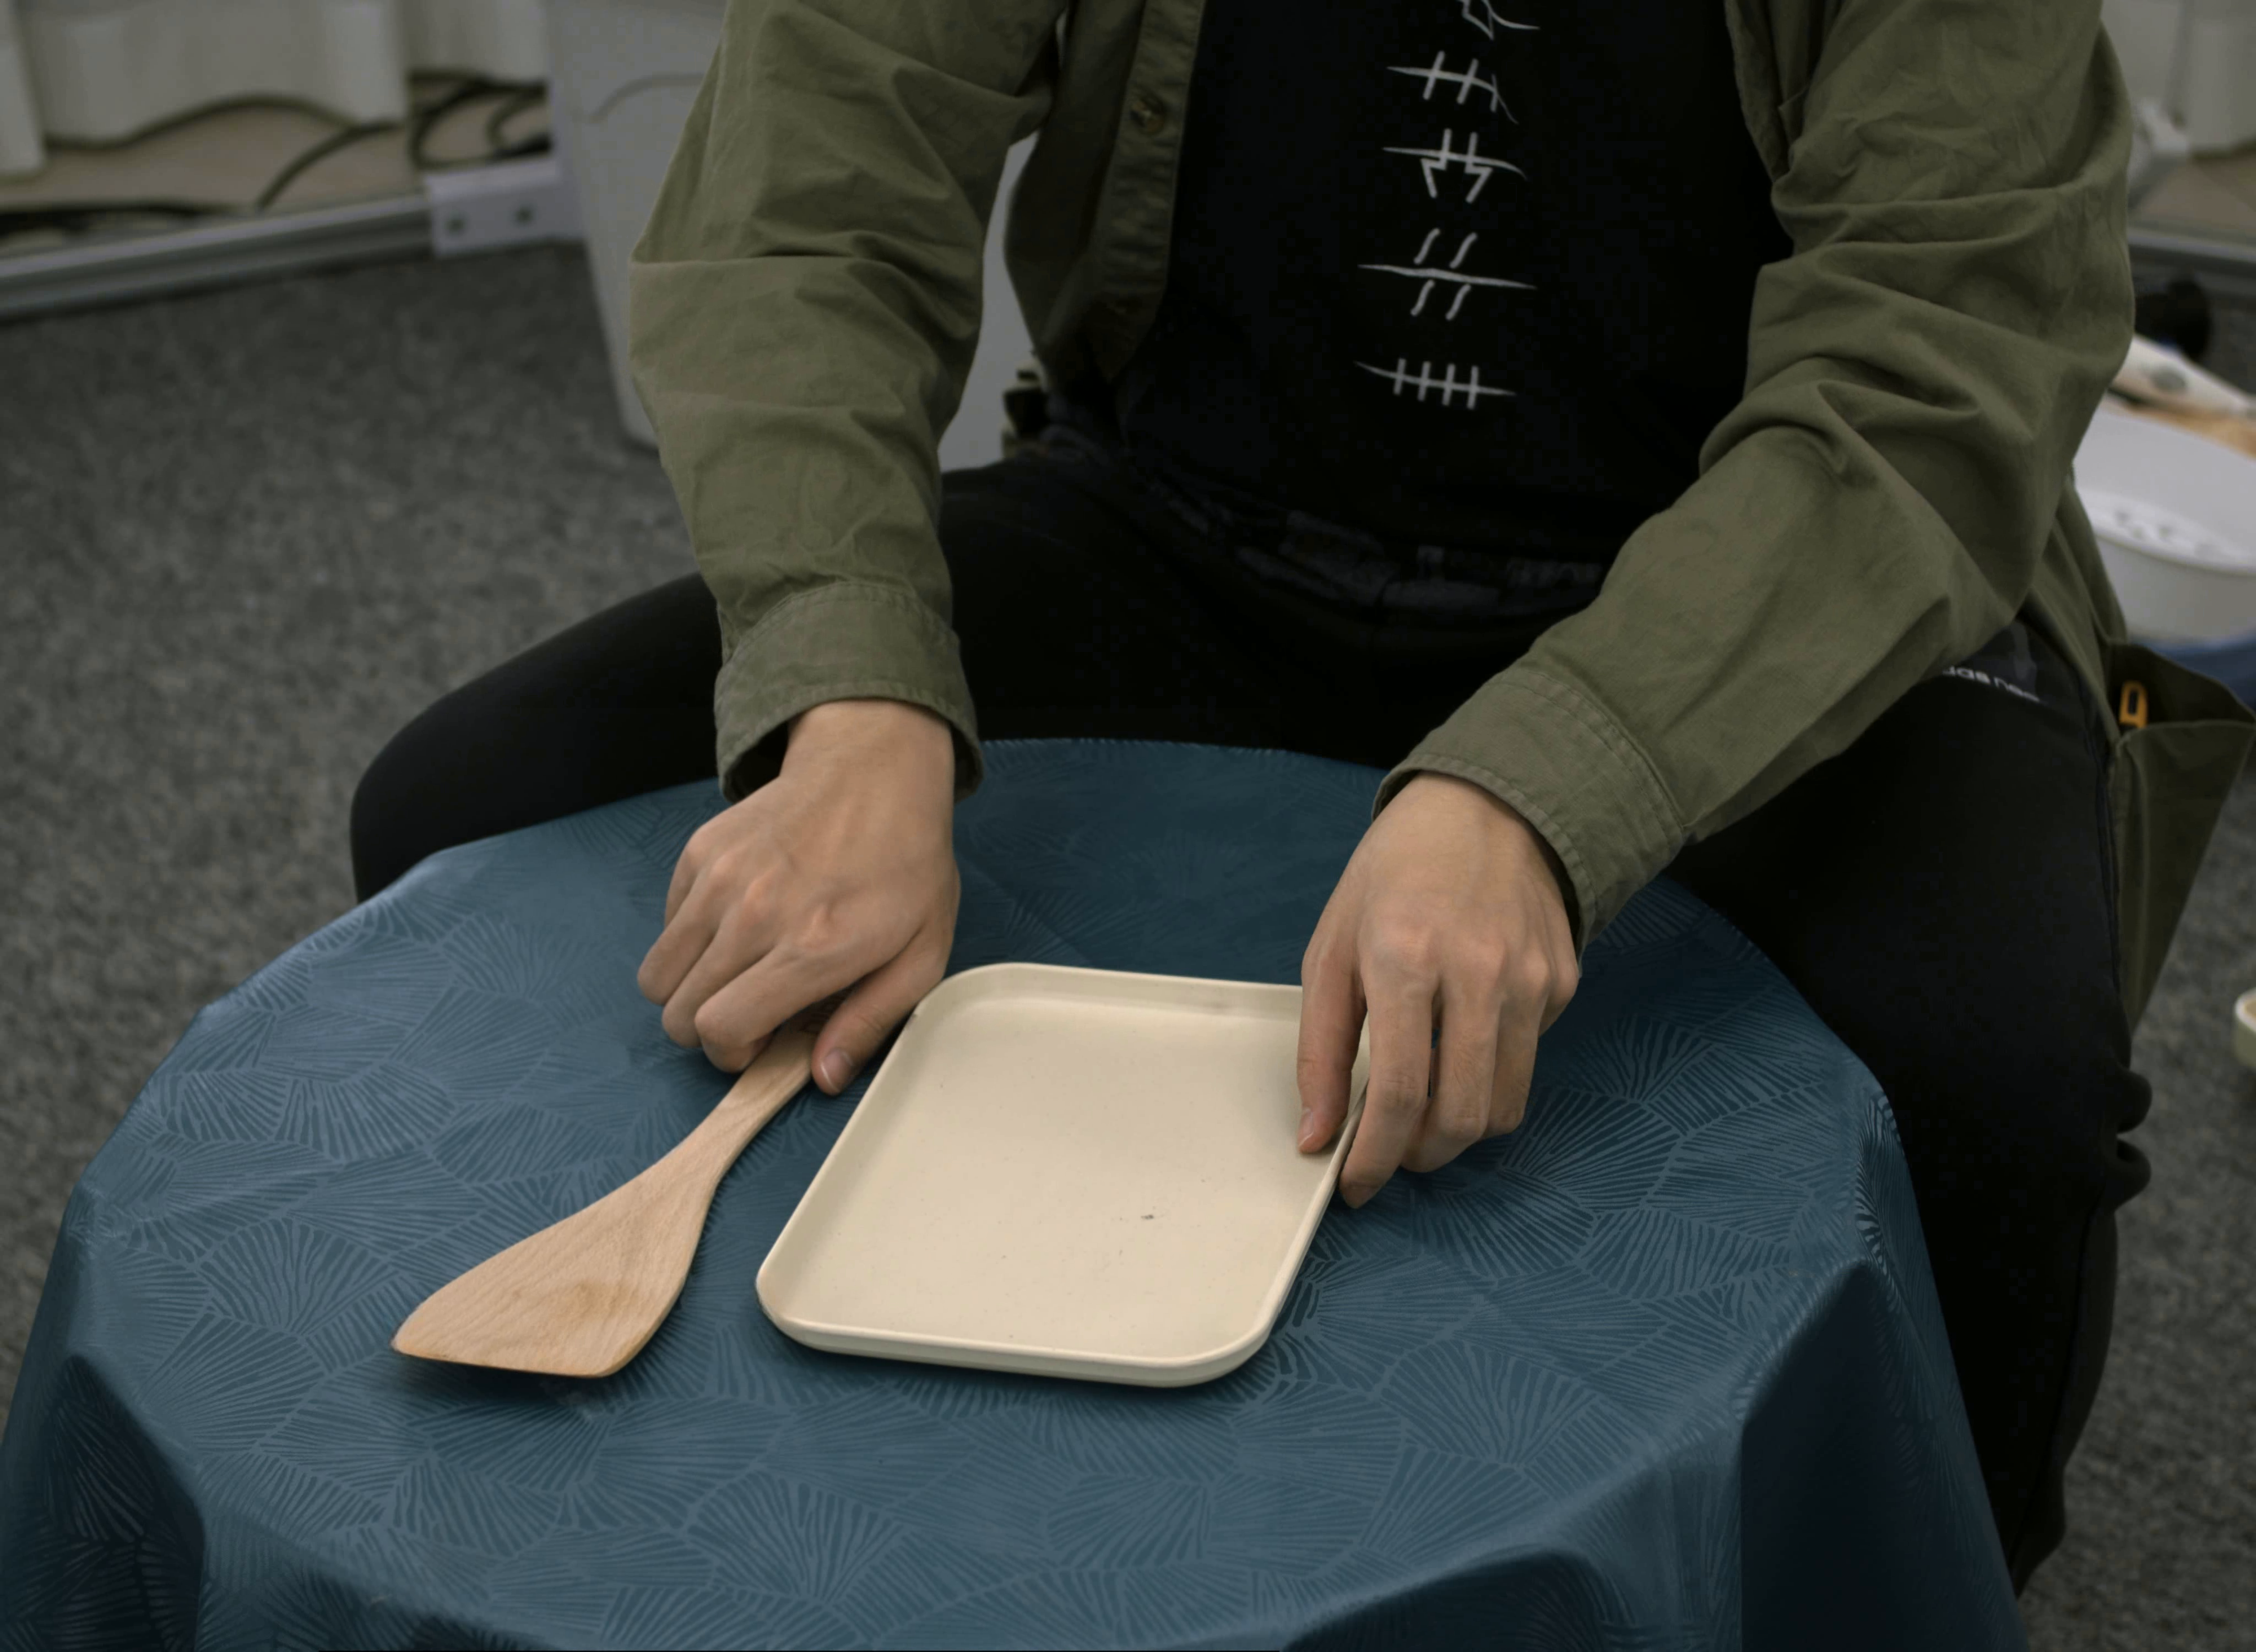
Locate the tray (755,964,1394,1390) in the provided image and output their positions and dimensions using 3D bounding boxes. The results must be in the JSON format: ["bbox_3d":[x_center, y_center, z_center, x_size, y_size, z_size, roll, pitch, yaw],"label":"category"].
[{"bbox_3d":[-0.014,0.114,1.853,0.170,0.017,0.244,5,28,14],"label":"tray"}]

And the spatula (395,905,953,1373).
[{"bbox_3d":[-0.134,0.101,1.891,0.079,0.016,0.333,9,30,21],"label":"spatula"}]
